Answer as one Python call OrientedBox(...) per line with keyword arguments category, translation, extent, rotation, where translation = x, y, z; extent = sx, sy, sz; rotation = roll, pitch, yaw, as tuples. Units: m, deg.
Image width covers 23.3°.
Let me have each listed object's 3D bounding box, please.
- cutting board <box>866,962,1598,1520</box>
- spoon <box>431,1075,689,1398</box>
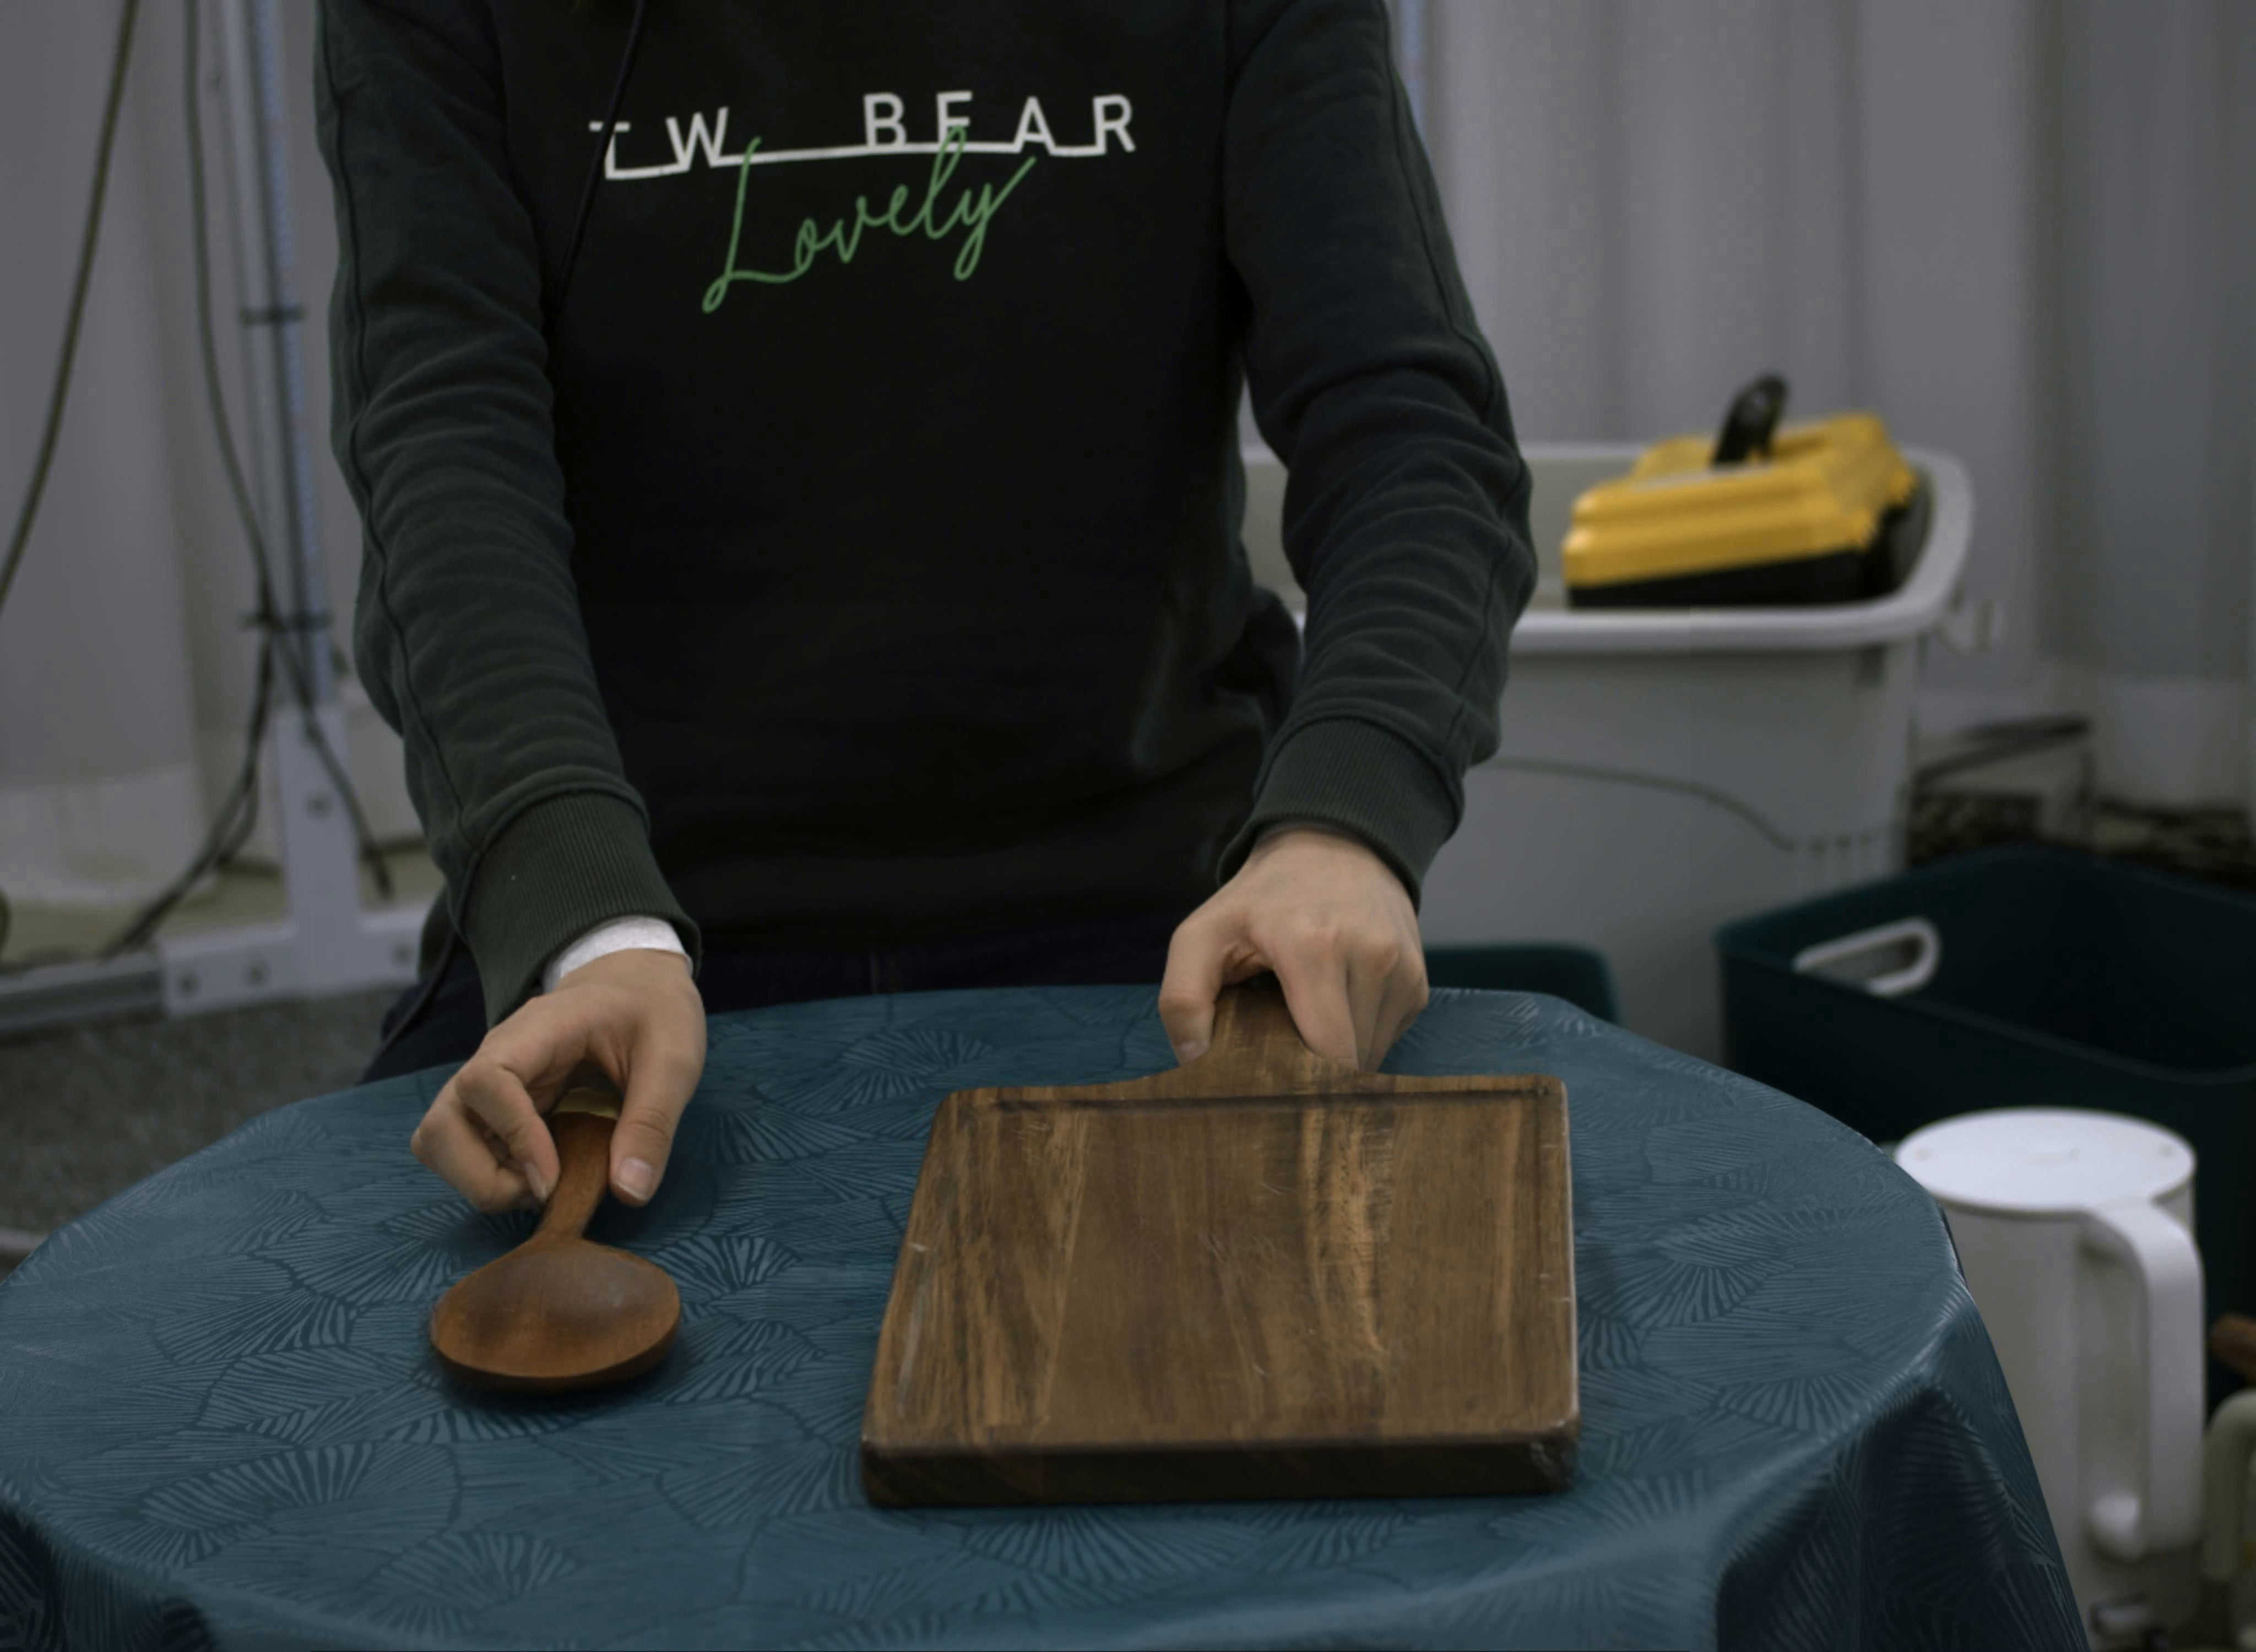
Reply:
OrientedBox(category="cutting board", translation=(0.035, 0.114, 1.620), extent=(0.200, 0.023, 0.355), rotation=(-3, 20, 4))
OrientedBox(category="spoon", translation=(-0.166, 0.124, 1.648), extent=(0.075, 0.017, 0.218), rotation=(-5, 21, 0))
